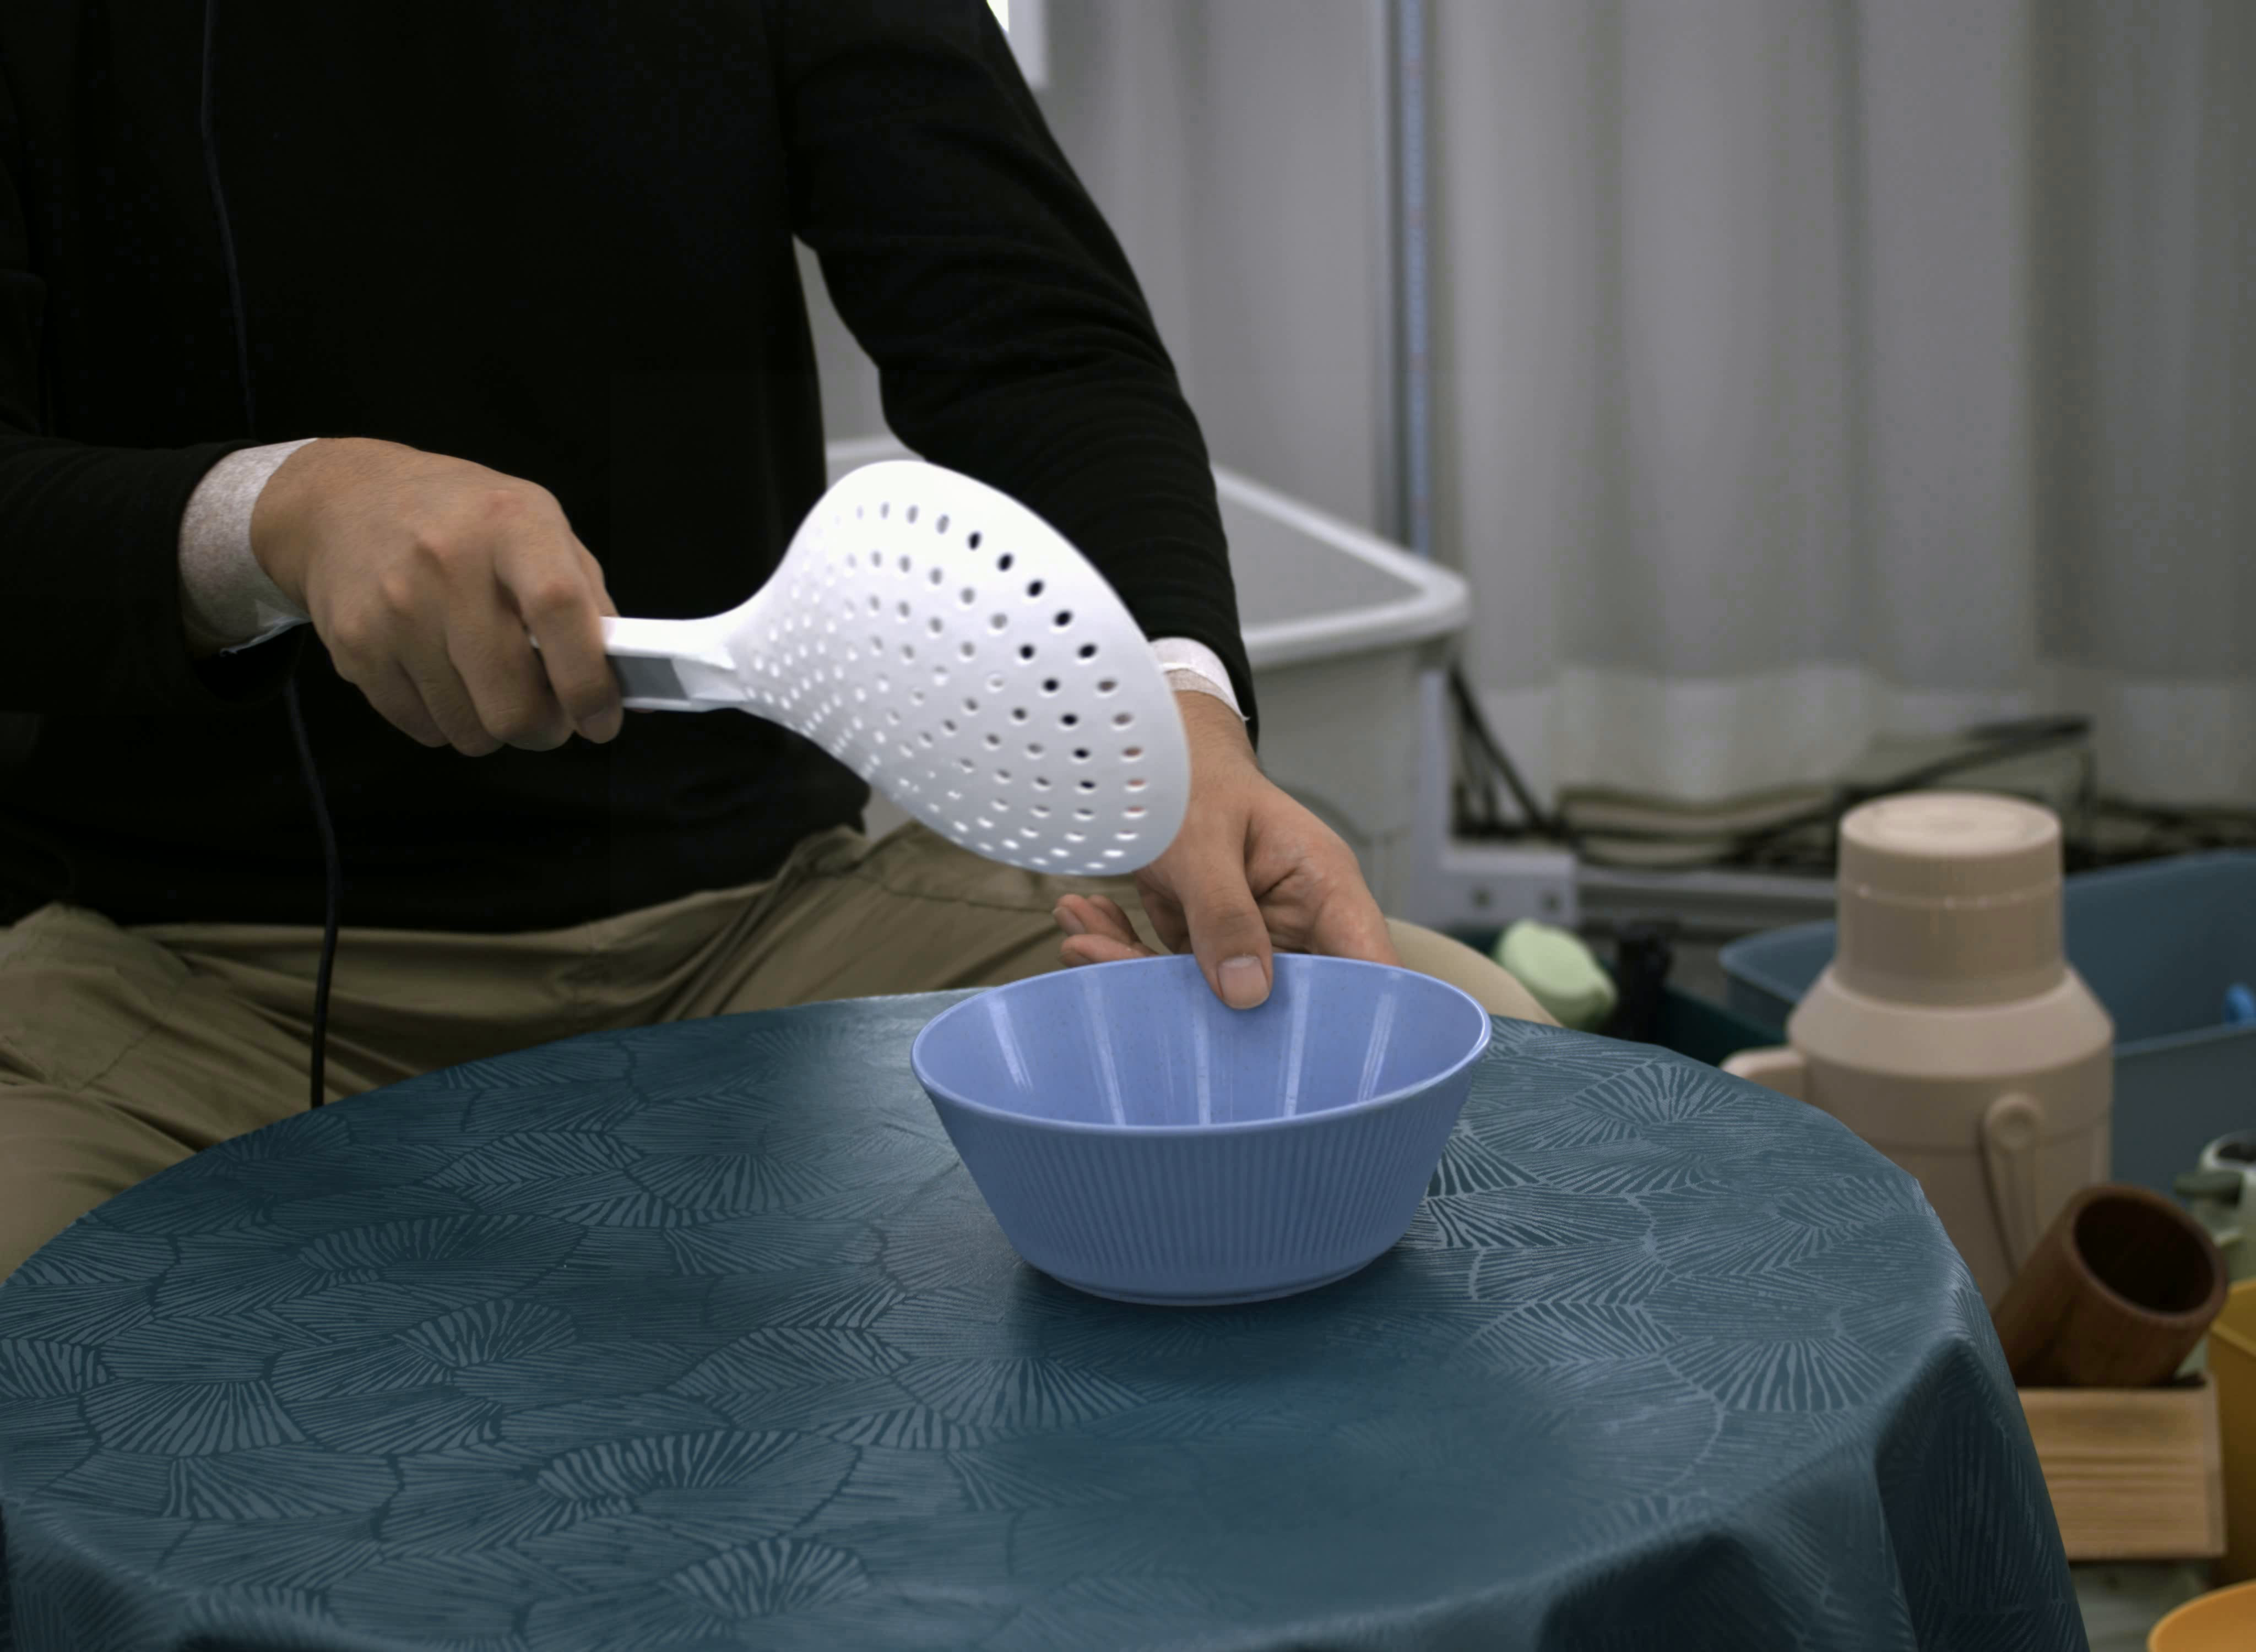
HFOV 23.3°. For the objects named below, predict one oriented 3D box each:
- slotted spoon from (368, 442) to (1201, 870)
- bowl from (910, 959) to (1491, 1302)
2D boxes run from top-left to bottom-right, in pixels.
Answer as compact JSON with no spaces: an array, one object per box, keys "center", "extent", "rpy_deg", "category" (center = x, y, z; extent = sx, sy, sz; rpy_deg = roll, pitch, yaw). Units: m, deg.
[{"center":[-0.112,-0.049,1.592],"extent":[0.046,0.135,0.351],"rpy_deg":[-36,27,-31],"category":"slotted spoon"},{"center":[0.023,0.094,1.652],"extent":[0.175,0.070,0.177],"rpy_deg":[-3,14,1],"category":"bowl"}]
